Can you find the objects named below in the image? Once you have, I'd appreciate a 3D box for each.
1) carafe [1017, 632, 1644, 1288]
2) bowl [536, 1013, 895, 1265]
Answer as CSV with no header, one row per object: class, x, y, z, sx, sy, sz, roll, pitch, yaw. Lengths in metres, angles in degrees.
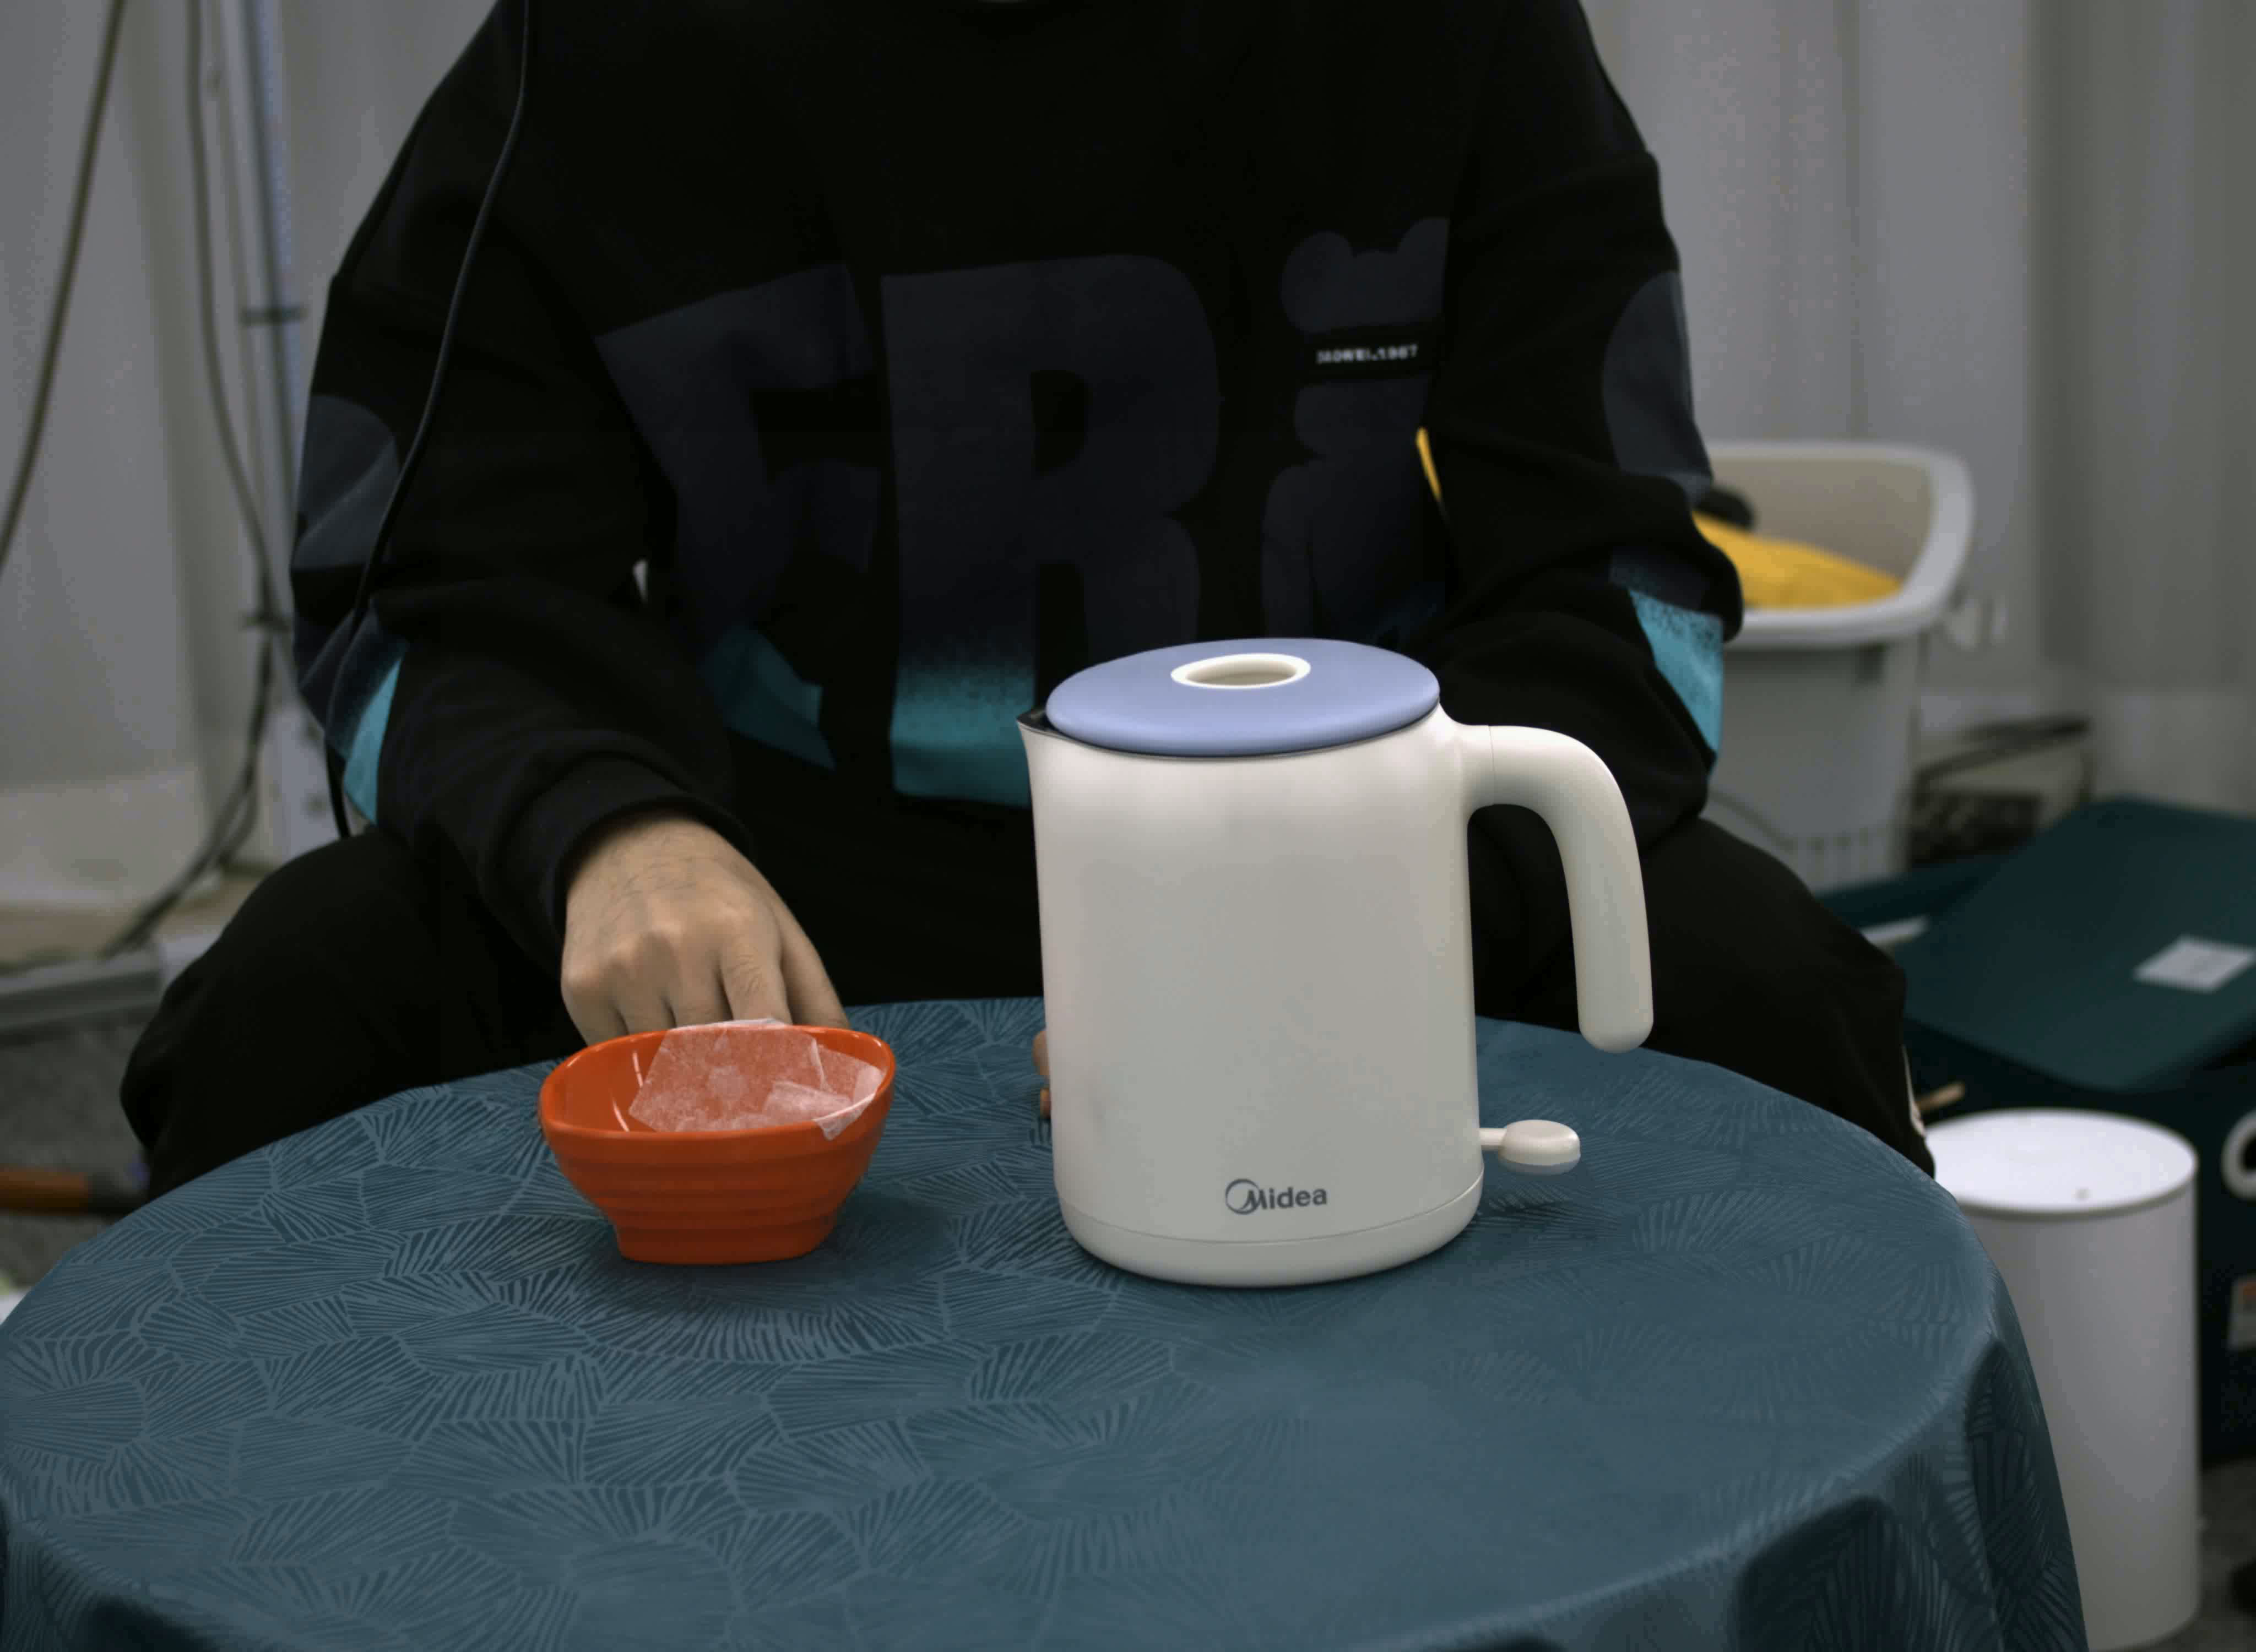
carafe,0.062,0.039,1.659,0.190,0.182,0.133,-1,15,-2
bowl,-0.125,0.100,1.692,0.118,0.051,0.120,-5,17,1
